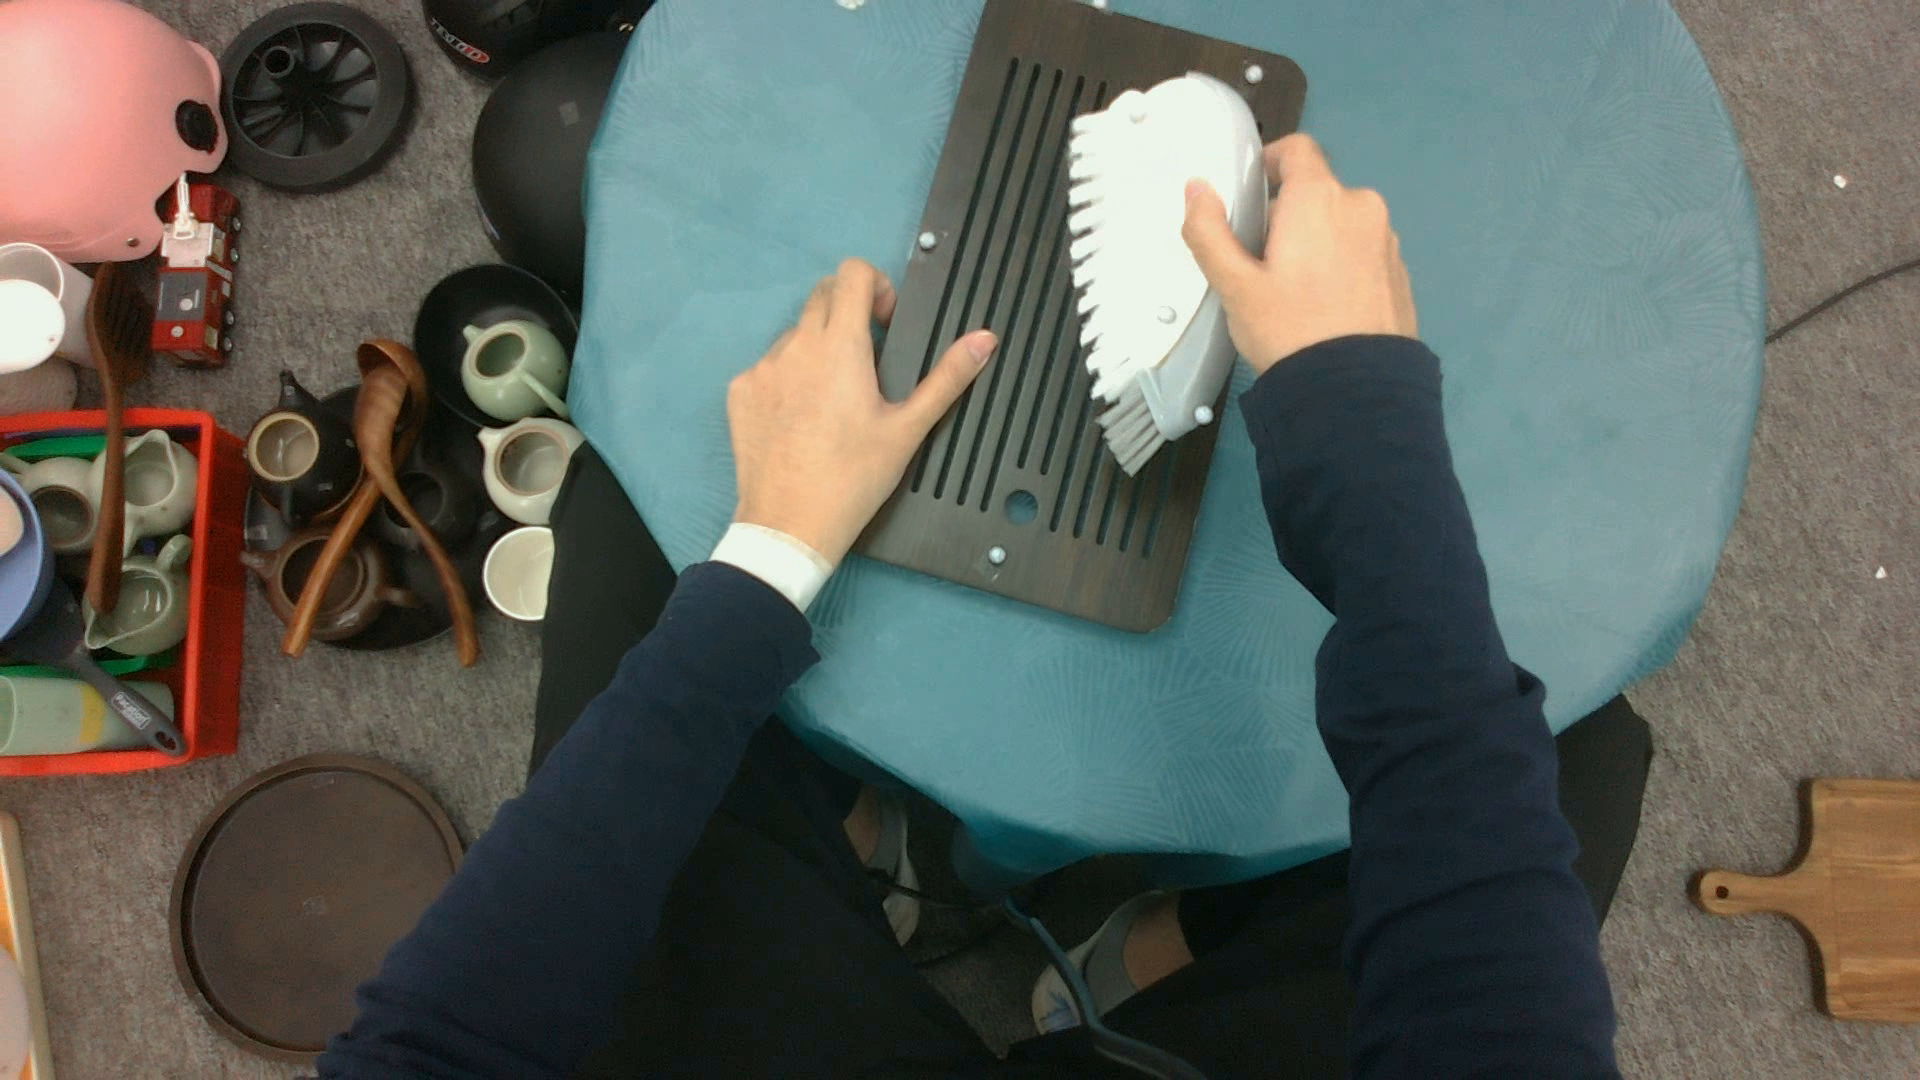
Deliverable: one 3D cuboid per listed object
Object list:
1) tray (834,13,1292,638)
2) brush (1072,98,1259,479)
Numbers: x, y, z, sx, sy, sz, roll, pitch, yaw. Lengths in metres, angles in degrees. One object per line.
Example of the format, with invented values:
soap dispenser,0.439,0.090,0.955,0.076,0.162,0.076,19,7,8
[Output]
tray,0.055,-0.114,0.700,0.170,0.018,0.306,14,80,3
brush,0.102,-0.122,0.634,0.061,0.094,0.176,12,68,-29
